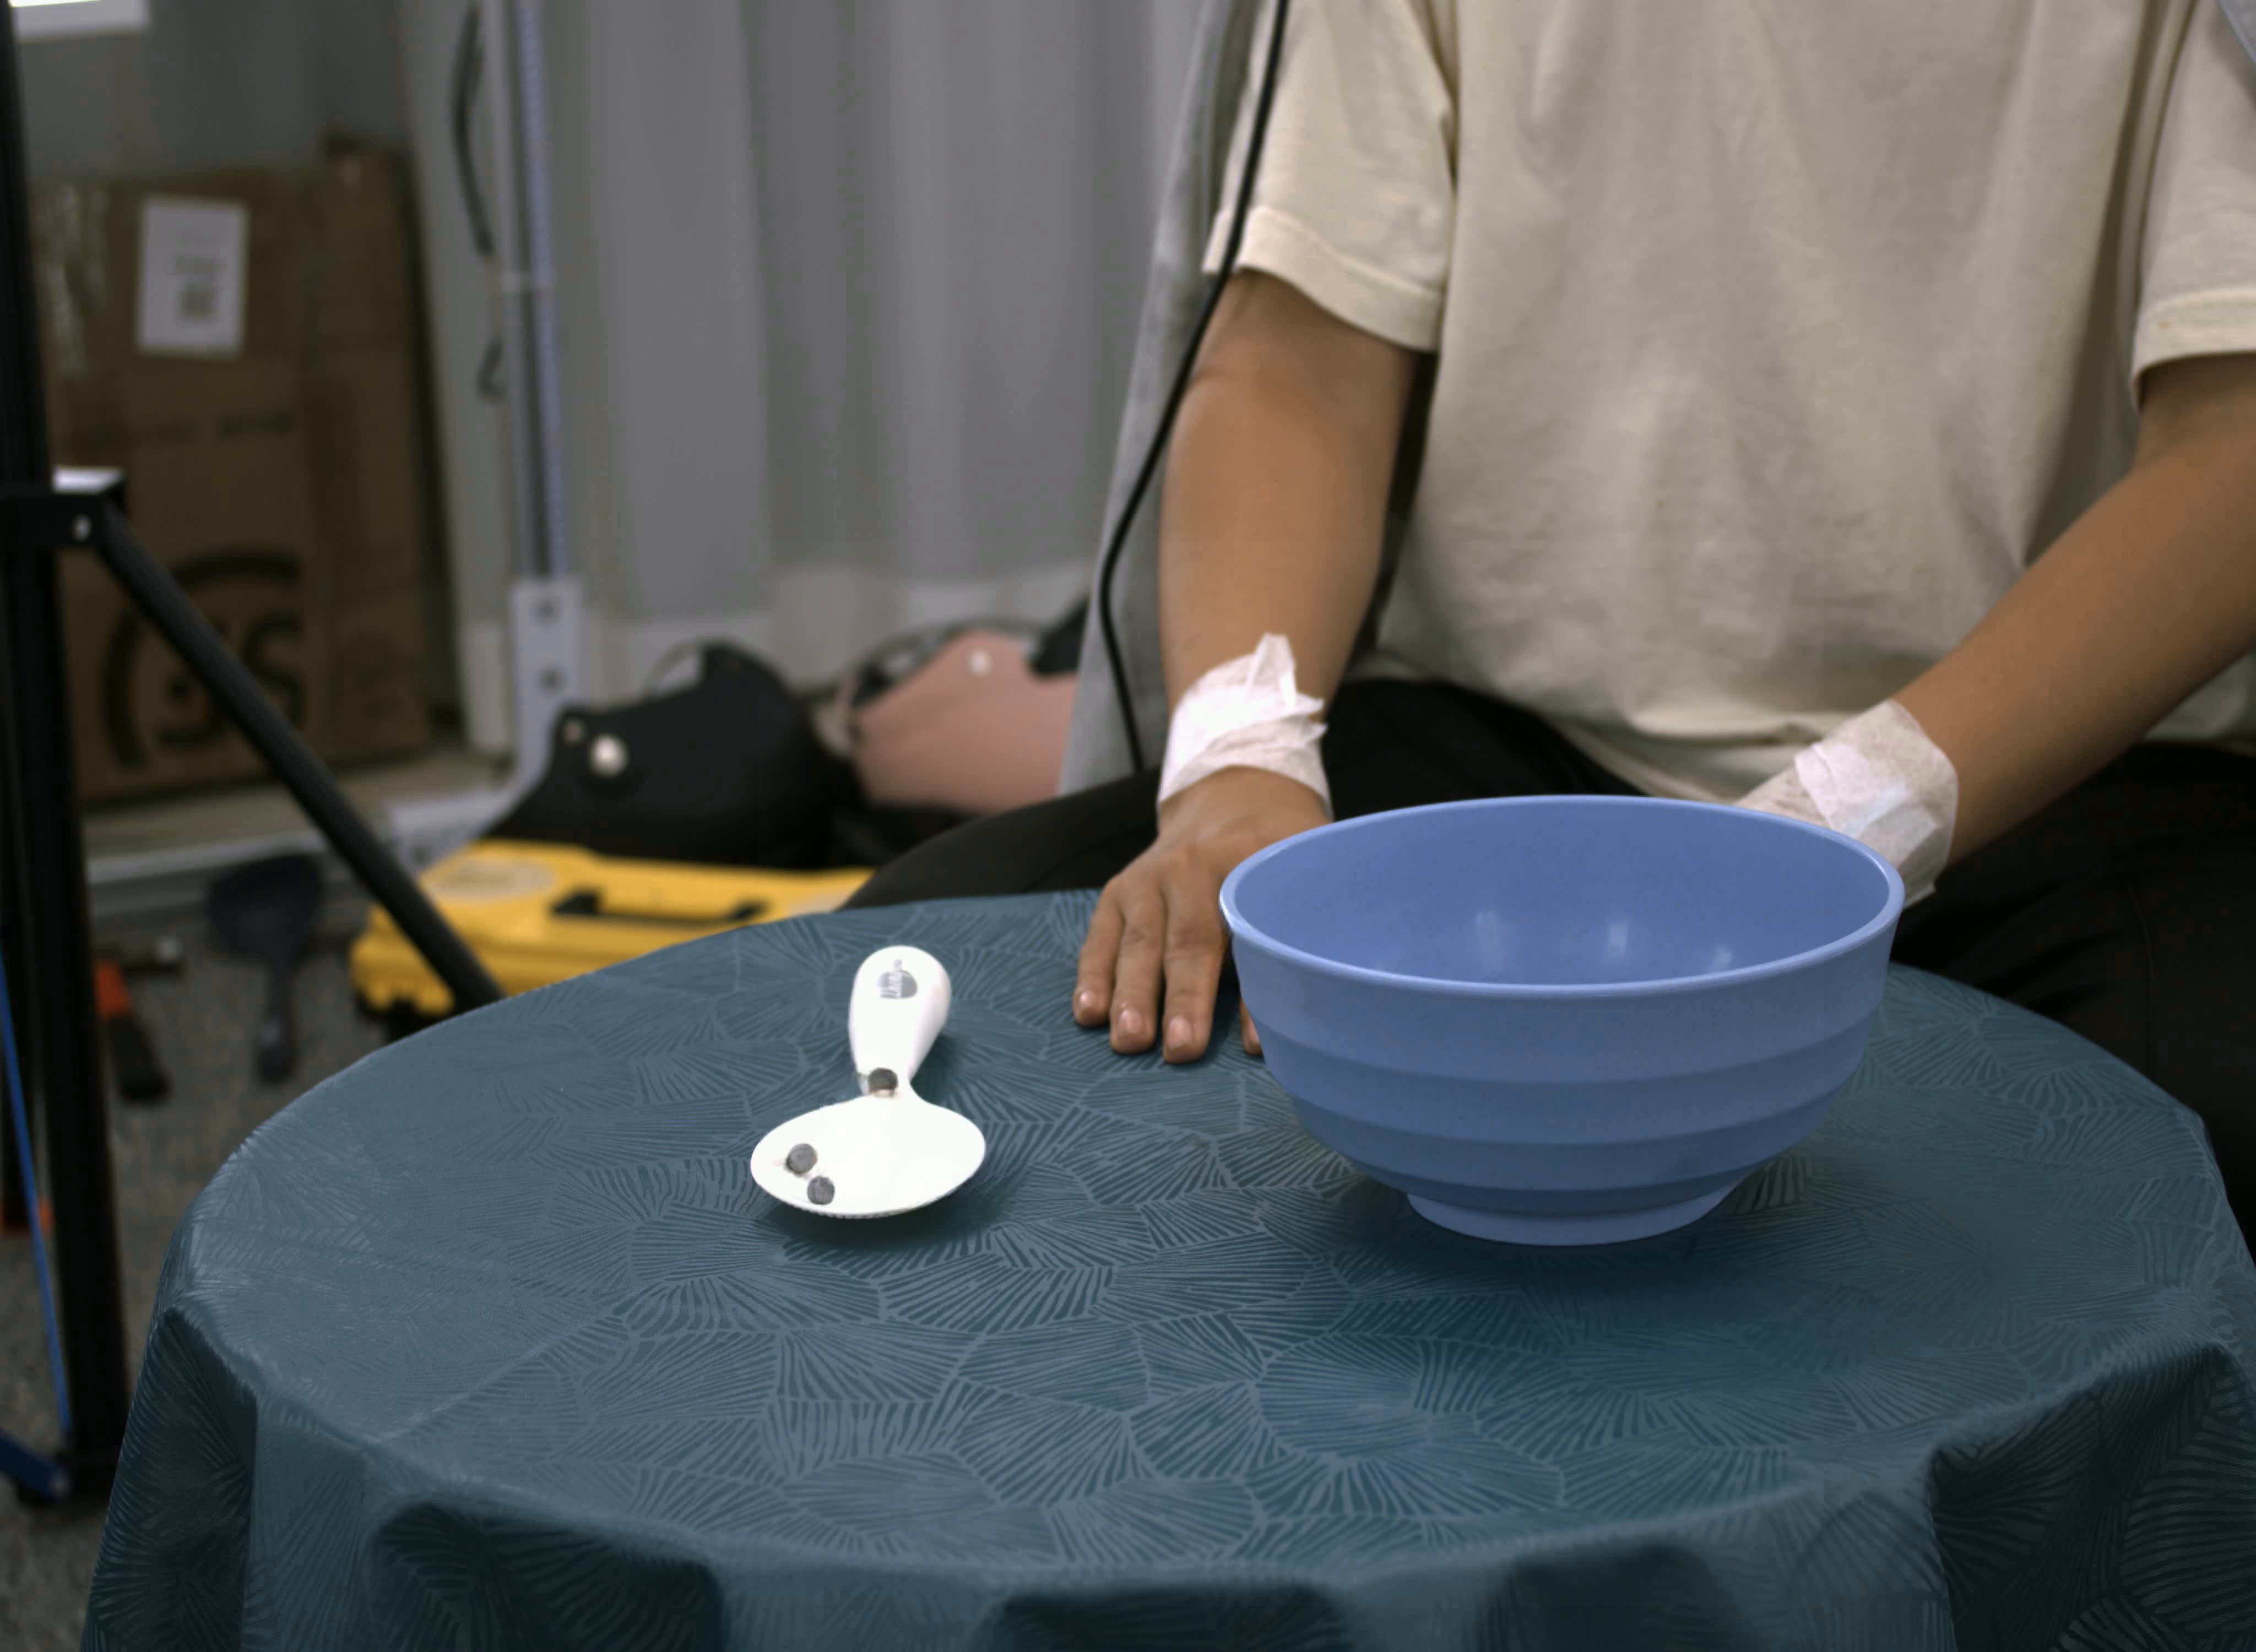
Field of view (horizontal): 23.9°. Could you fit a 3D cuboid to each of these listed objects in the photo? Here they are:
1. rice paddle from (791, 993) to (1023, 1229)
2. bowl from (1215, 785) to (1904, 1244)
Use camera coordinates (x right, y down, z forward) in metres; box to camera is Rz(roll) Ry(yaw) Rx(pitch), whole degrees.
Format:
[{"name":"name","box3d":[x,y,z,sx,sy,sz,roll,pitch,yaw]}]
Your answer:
[{"name":"rice paddle","box3d":[-0.073,0.088,1.602,0.068,0.029,0.207,8,10,-10]},{"name":"bowl","box3d":[0.125,0.060,1.526,0.195,0.095,0.197,-4,17,0]}]
